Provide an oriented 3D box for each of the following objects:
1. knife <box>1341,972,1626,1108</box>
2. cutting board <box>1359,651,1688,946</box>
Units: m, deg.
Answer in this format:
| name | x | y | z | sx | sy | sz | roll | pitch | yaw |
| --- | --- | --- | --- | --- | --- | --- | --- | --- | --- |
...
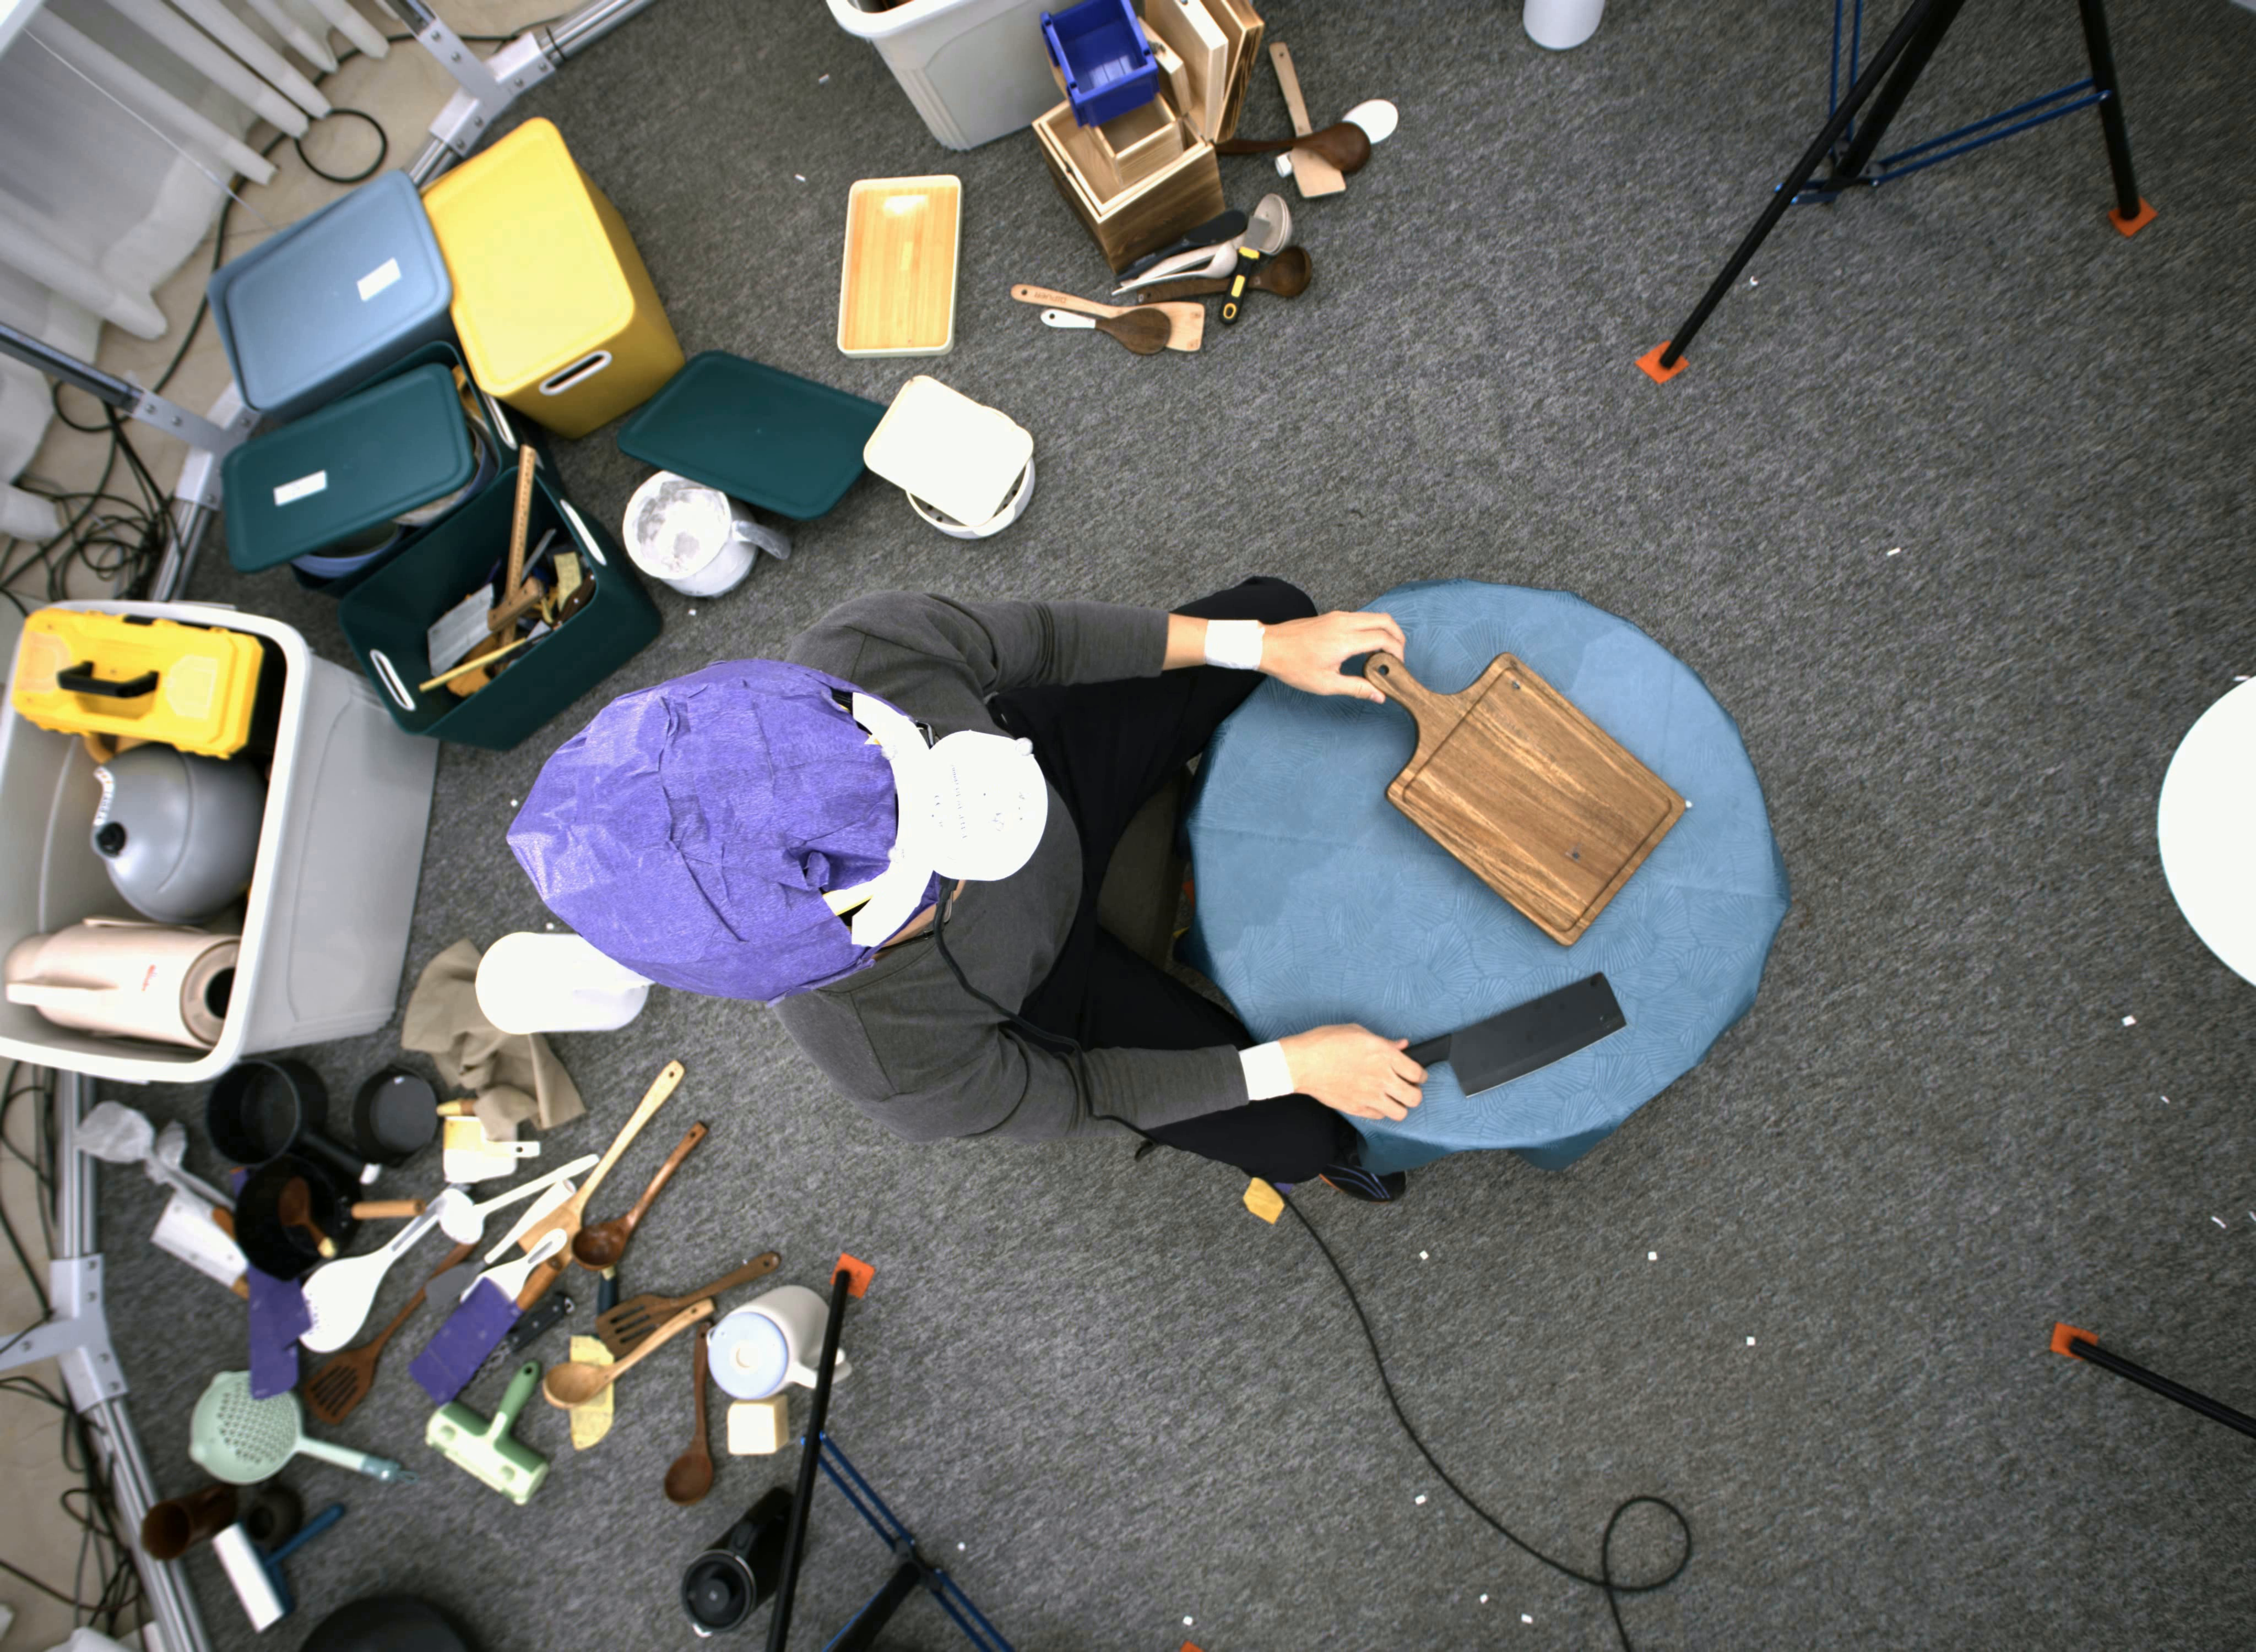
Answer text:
| name | x | y | z | sx | sy | sz | roll | pitch | yaw |
| --- | --- | --- | --- | --- | --- | --- | --- | --- | --- |
| knife | 0.363 | 0.230 | 1.424 | 0.303 | 0.021 | 0.080 | -19 | 86 | 6 |
| cutting board | 0.379 | -0.062 | 1.405 | 0.352 | 0.023 | 0.201 | 40 | 94 | 0 |
